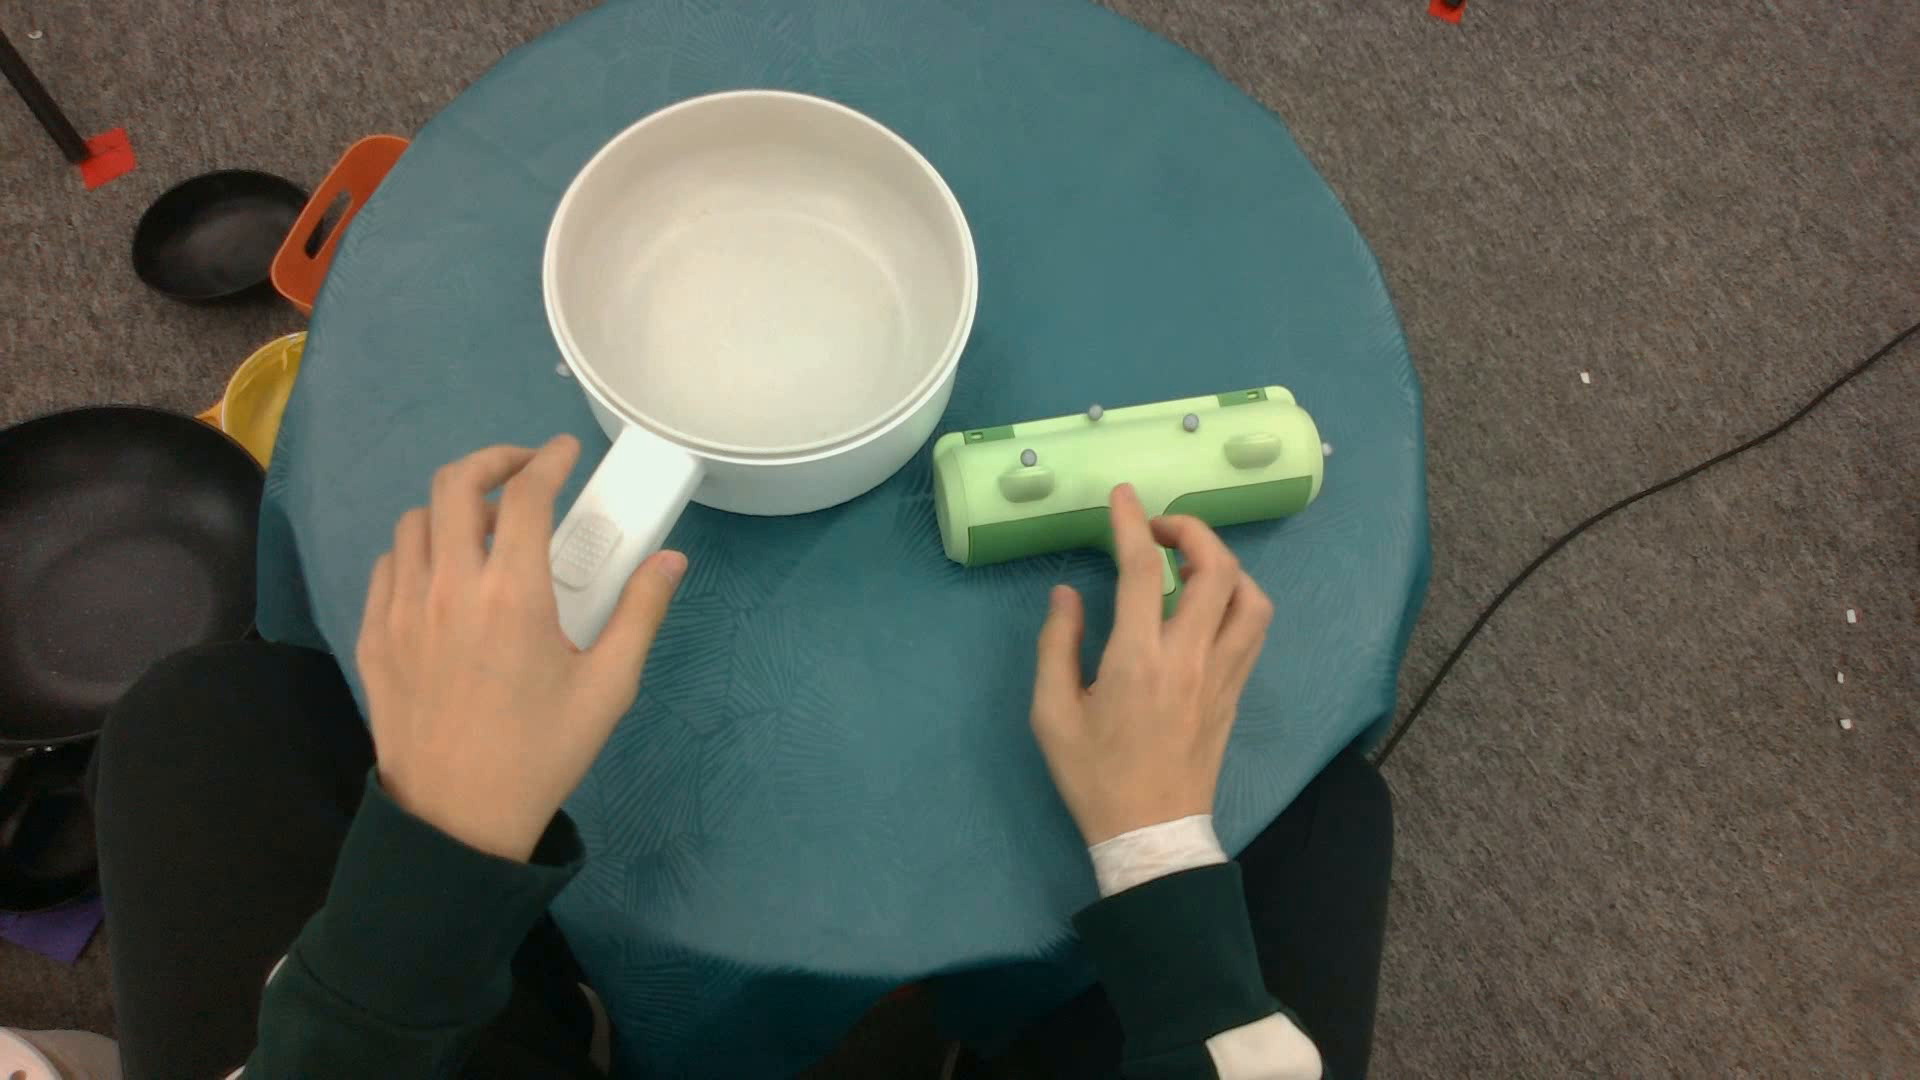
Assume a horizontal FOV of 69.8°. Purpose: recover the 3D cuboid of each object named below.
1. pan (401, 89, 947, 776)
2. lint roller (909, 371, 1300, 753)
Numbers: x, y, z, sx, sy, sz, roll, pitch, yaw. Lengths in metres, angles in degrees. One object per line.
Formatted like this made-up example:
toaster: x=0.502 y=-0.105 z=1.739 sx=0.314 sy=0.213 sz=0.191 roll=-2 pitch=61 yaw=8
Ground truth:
pan: x=-0.141 y=-0.049 z=0.660 sx=0.201 sy=0.101 sz=0.356 roll=24 pitch=69 yaw=3
lint roller: x=0.087 y=0.008 z=0.674 sx=0.199 sy=0.082 sz=0.184 roll=-10 pitch=65 yaw=-10
